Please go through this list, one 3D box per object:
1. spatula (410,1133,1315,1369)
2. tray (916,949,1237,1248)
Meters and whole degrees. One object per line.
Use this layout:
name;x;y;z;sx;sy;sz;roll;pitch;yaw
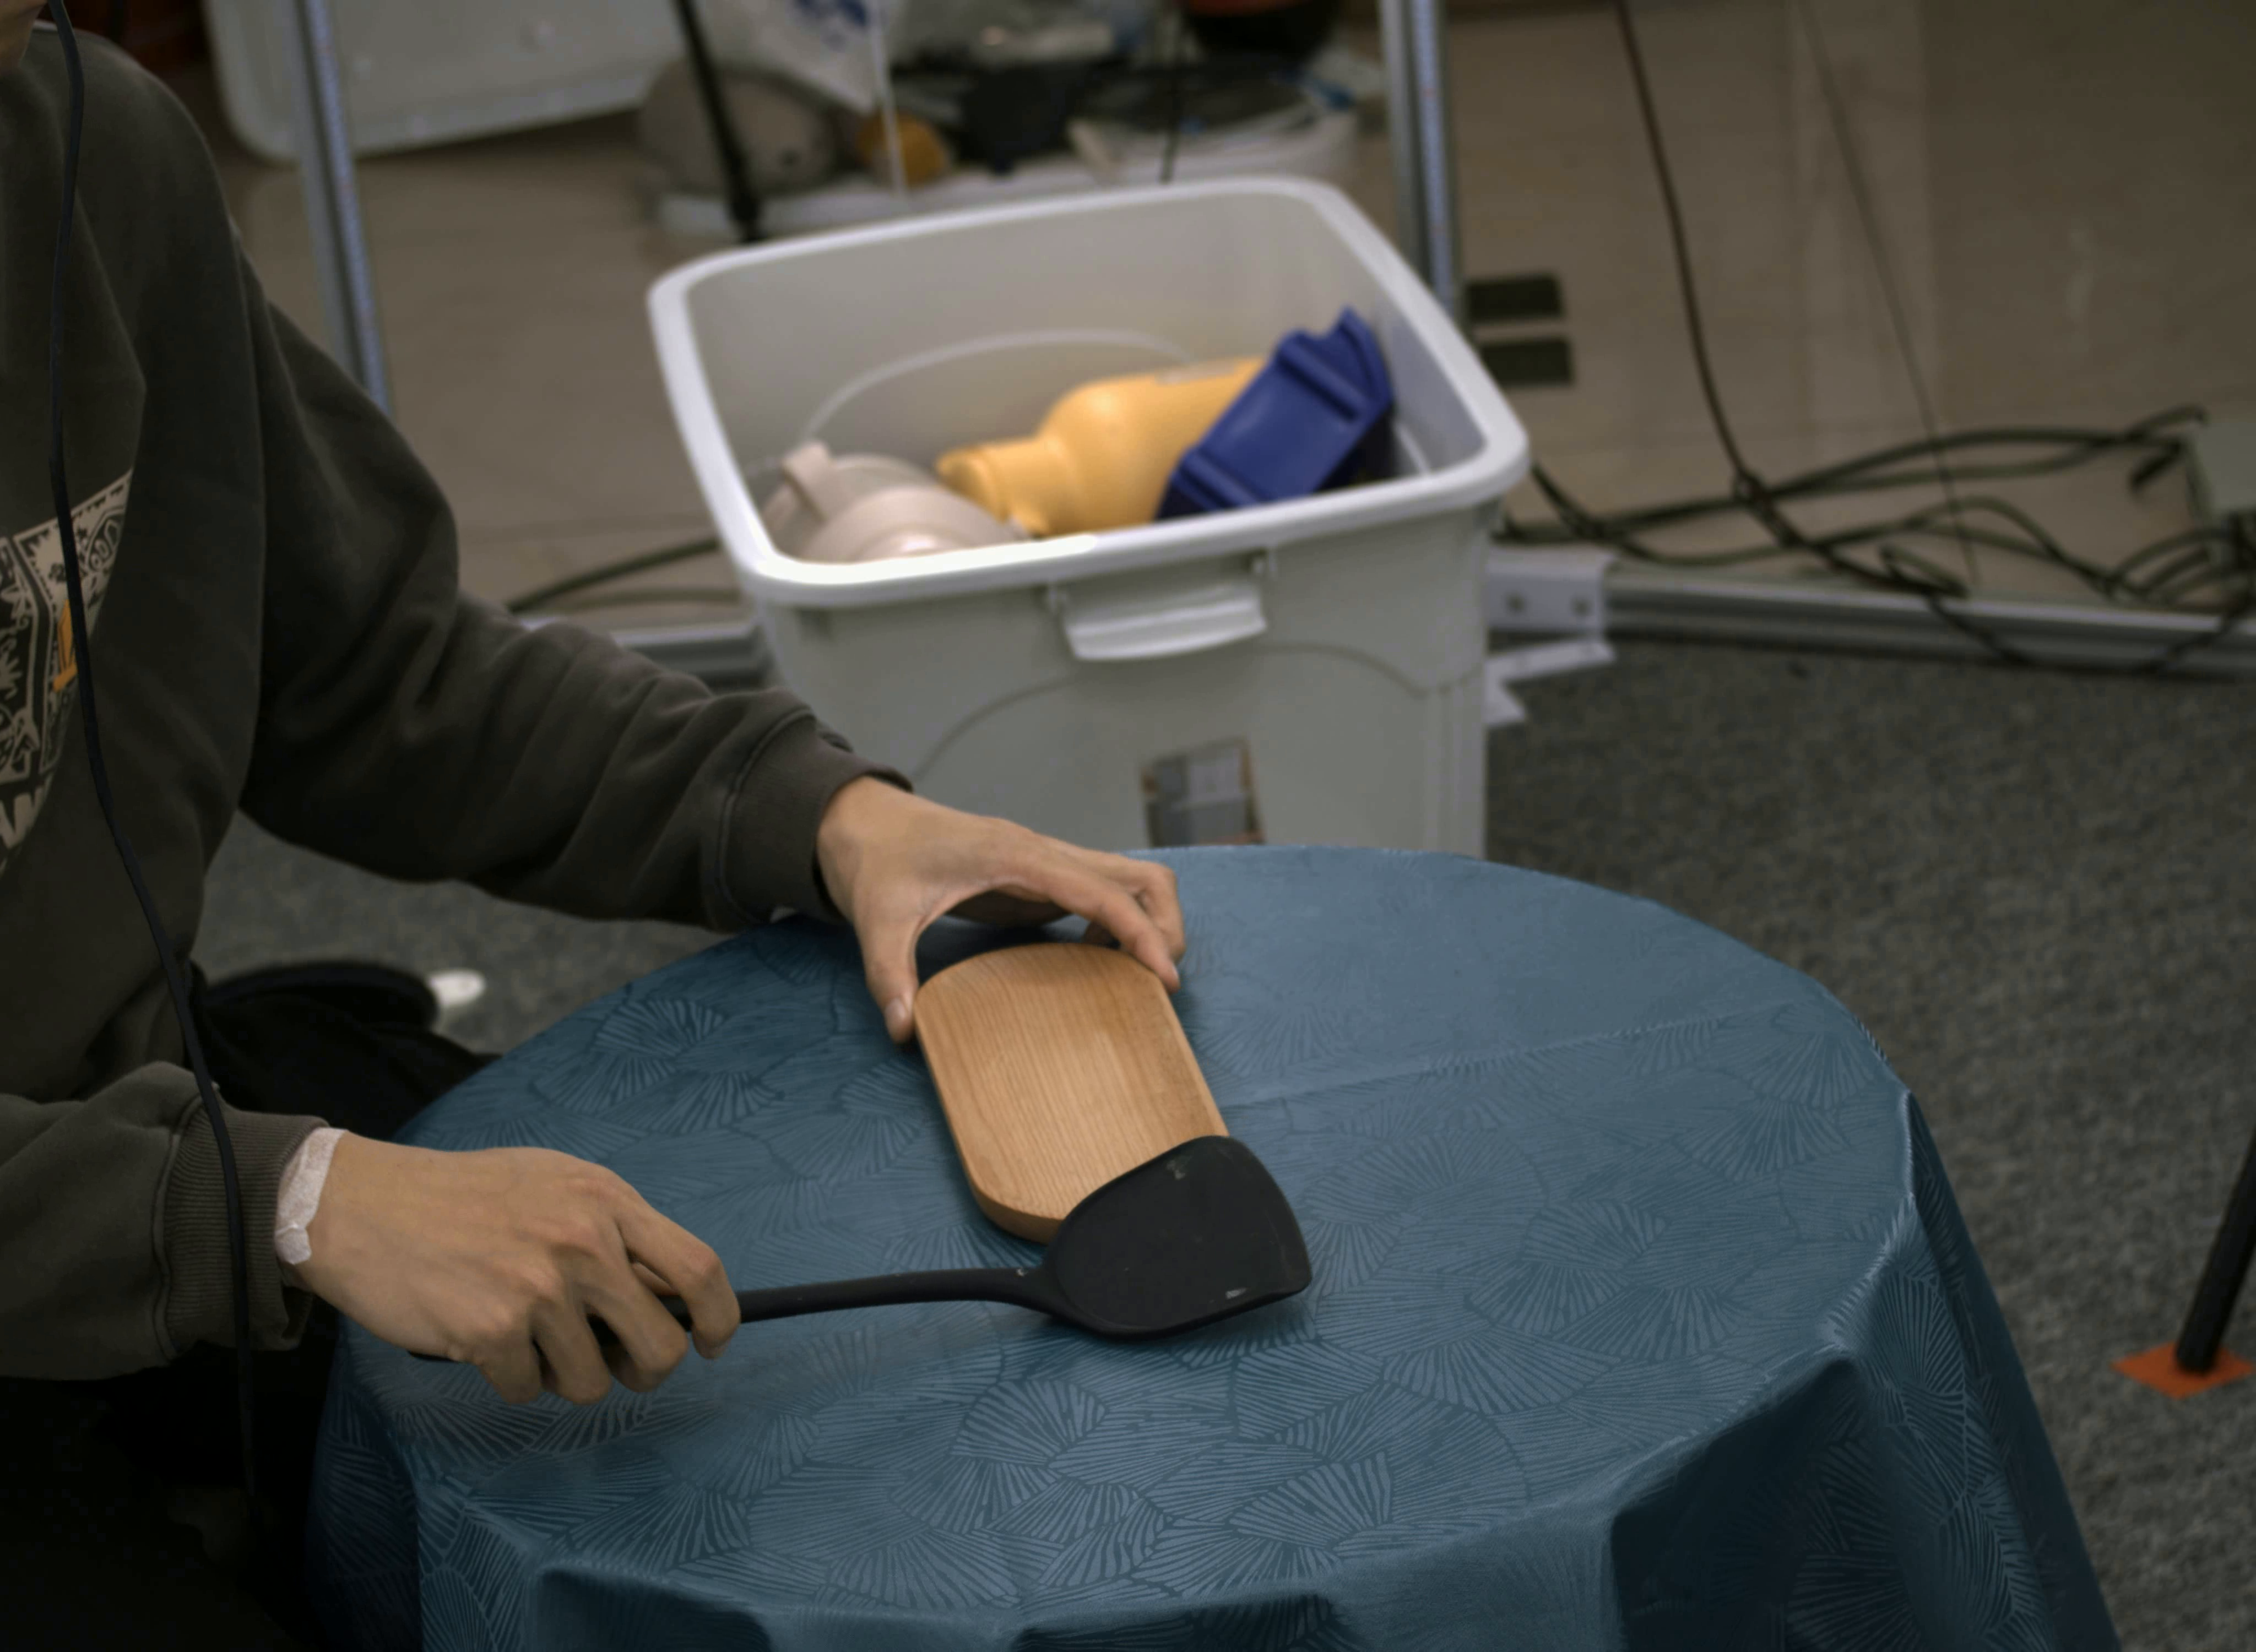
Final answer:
spatula;-0.096;0.164;2.039;0.325;0.041;0.098;-4;33;-17
tray;-0.022;0.104;2.203;0.101;0.020;0.228;-10;27;-8
